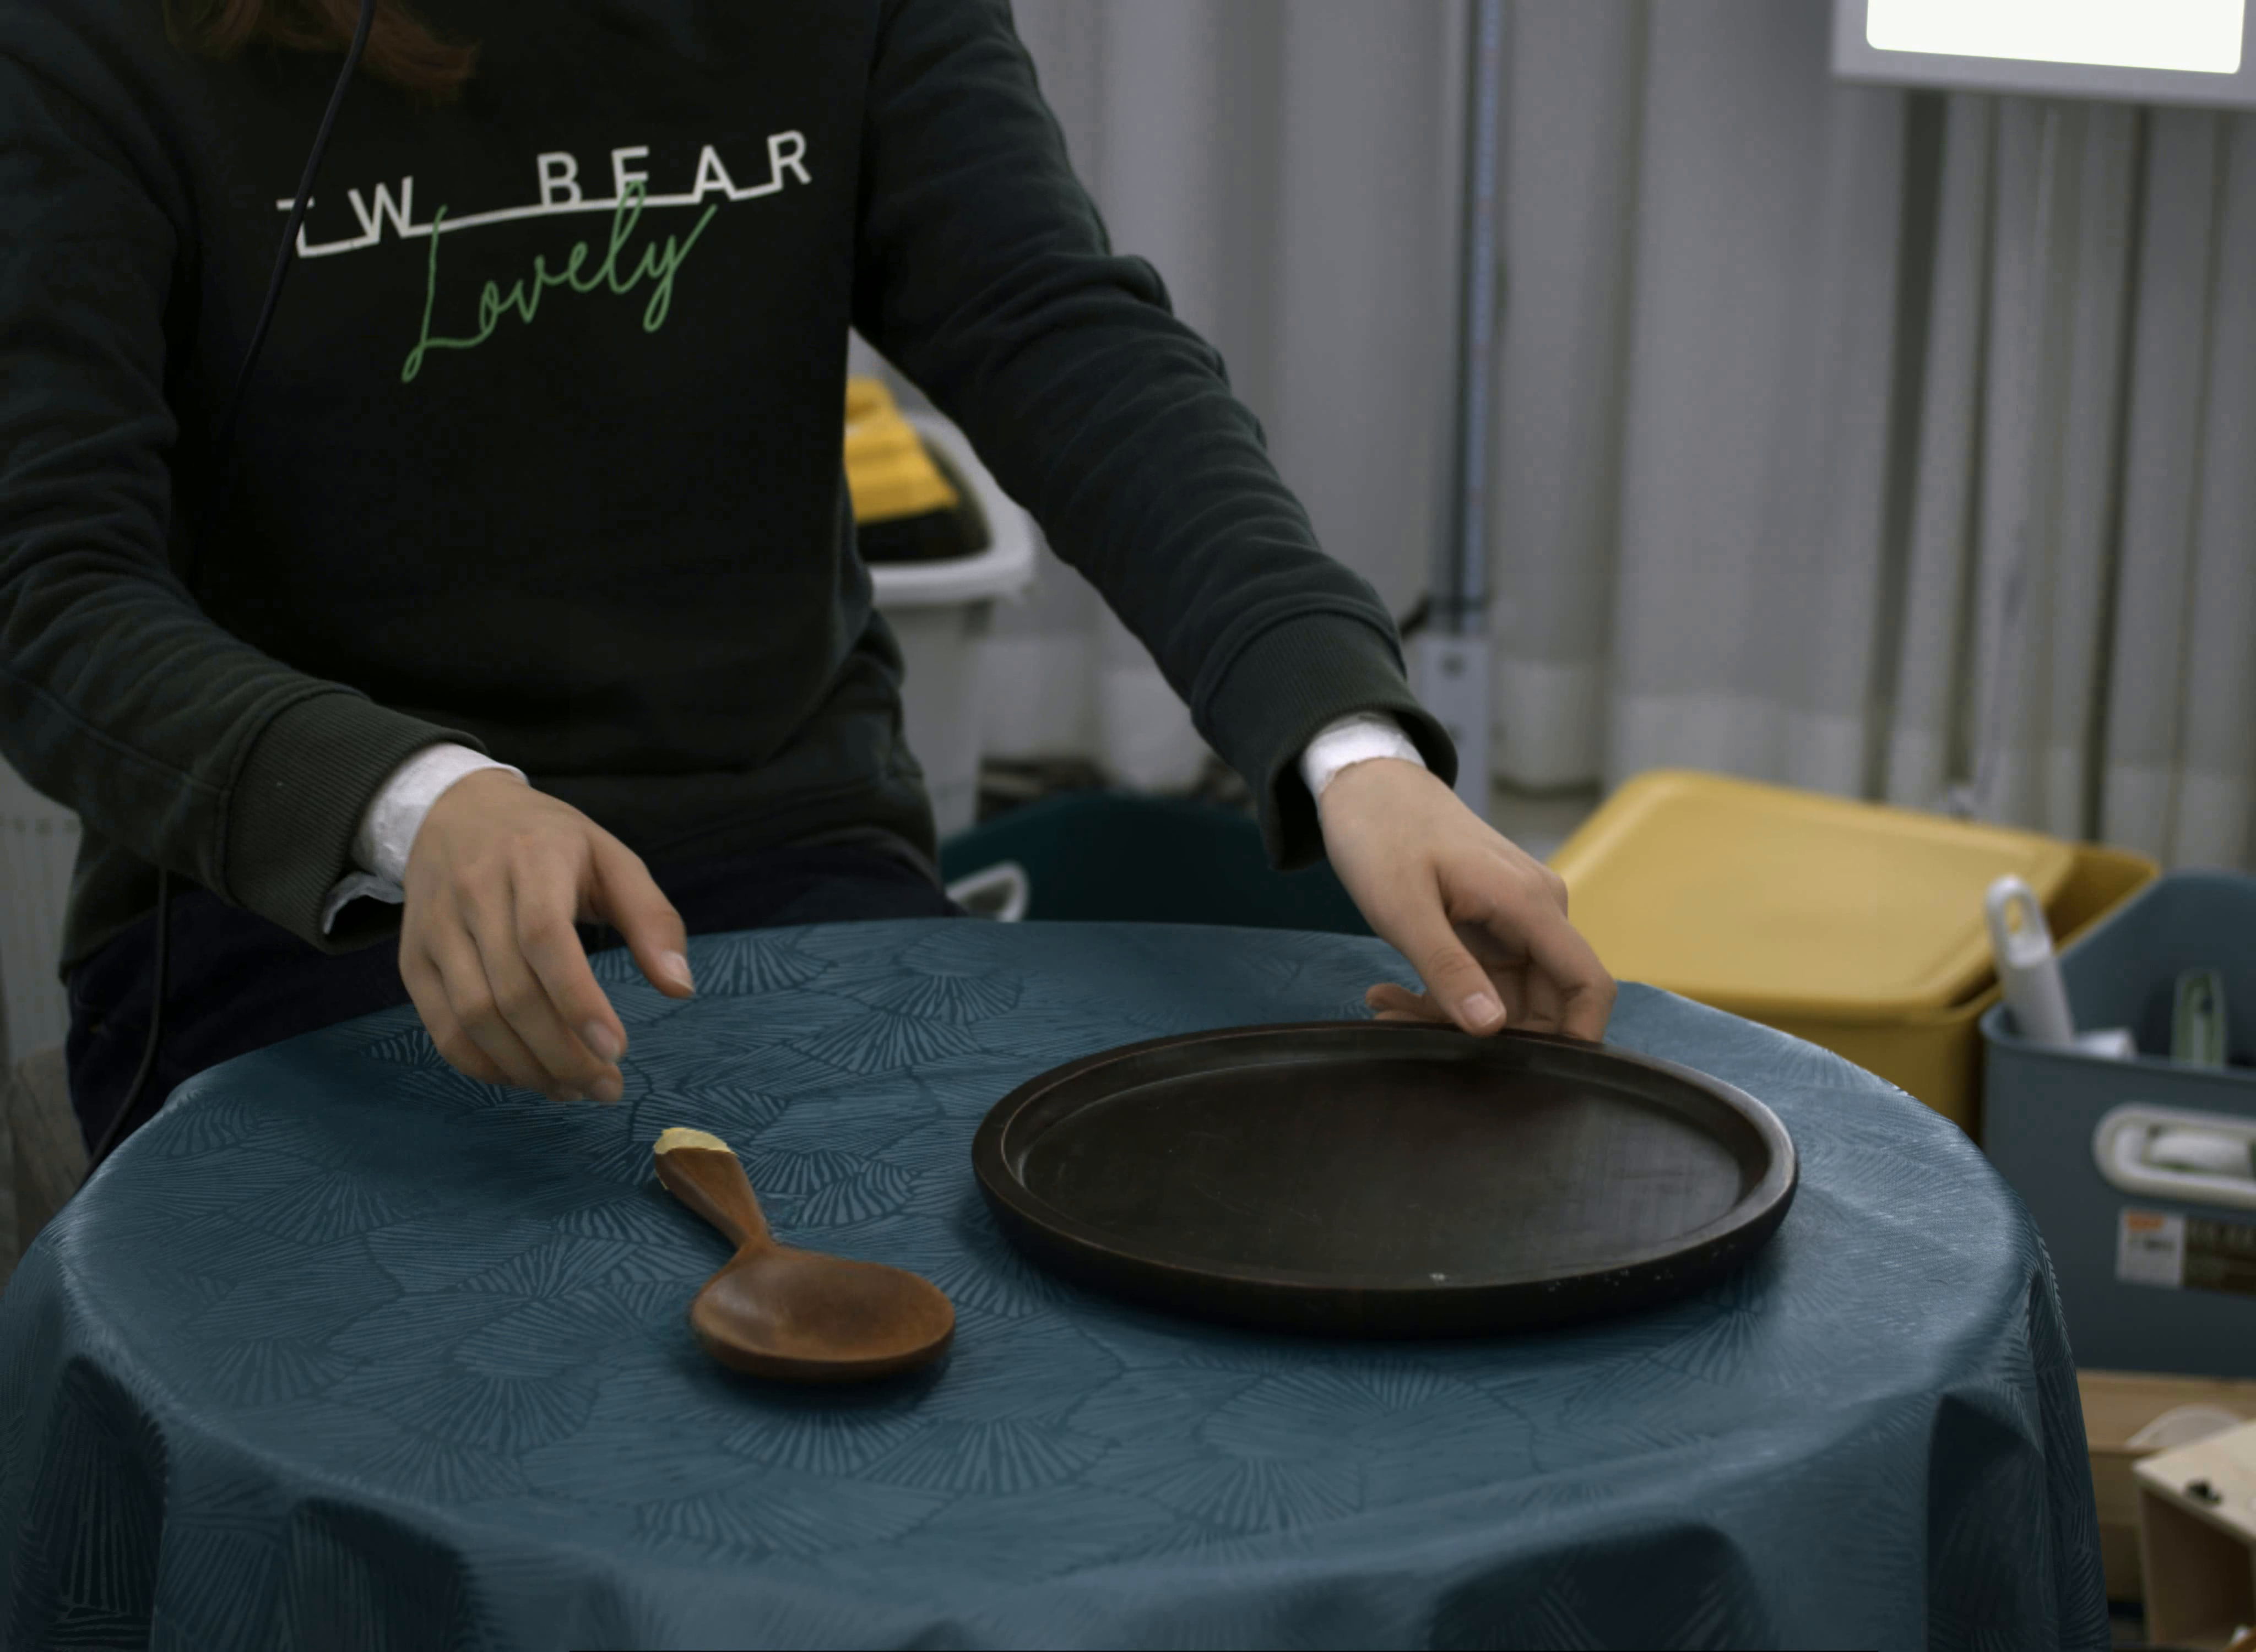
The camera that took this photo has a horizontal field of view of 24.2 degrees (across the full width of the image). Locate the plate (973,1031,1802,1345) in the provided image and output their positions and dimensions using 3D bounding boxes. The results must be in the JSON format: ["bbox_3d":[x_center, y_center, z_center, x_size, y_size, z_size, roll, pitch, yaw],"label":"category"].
[{"bbox_3d":[0.079,0.107,1.609,0.254,0.029,0.253,2,16,0],"label":"plate"}]

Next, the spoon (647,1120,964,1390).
[{"bbox_3d":[-0.105,0.126,1.543,0.075,0.017,0.213,-5,17,-18],"label":"spoon"}]
